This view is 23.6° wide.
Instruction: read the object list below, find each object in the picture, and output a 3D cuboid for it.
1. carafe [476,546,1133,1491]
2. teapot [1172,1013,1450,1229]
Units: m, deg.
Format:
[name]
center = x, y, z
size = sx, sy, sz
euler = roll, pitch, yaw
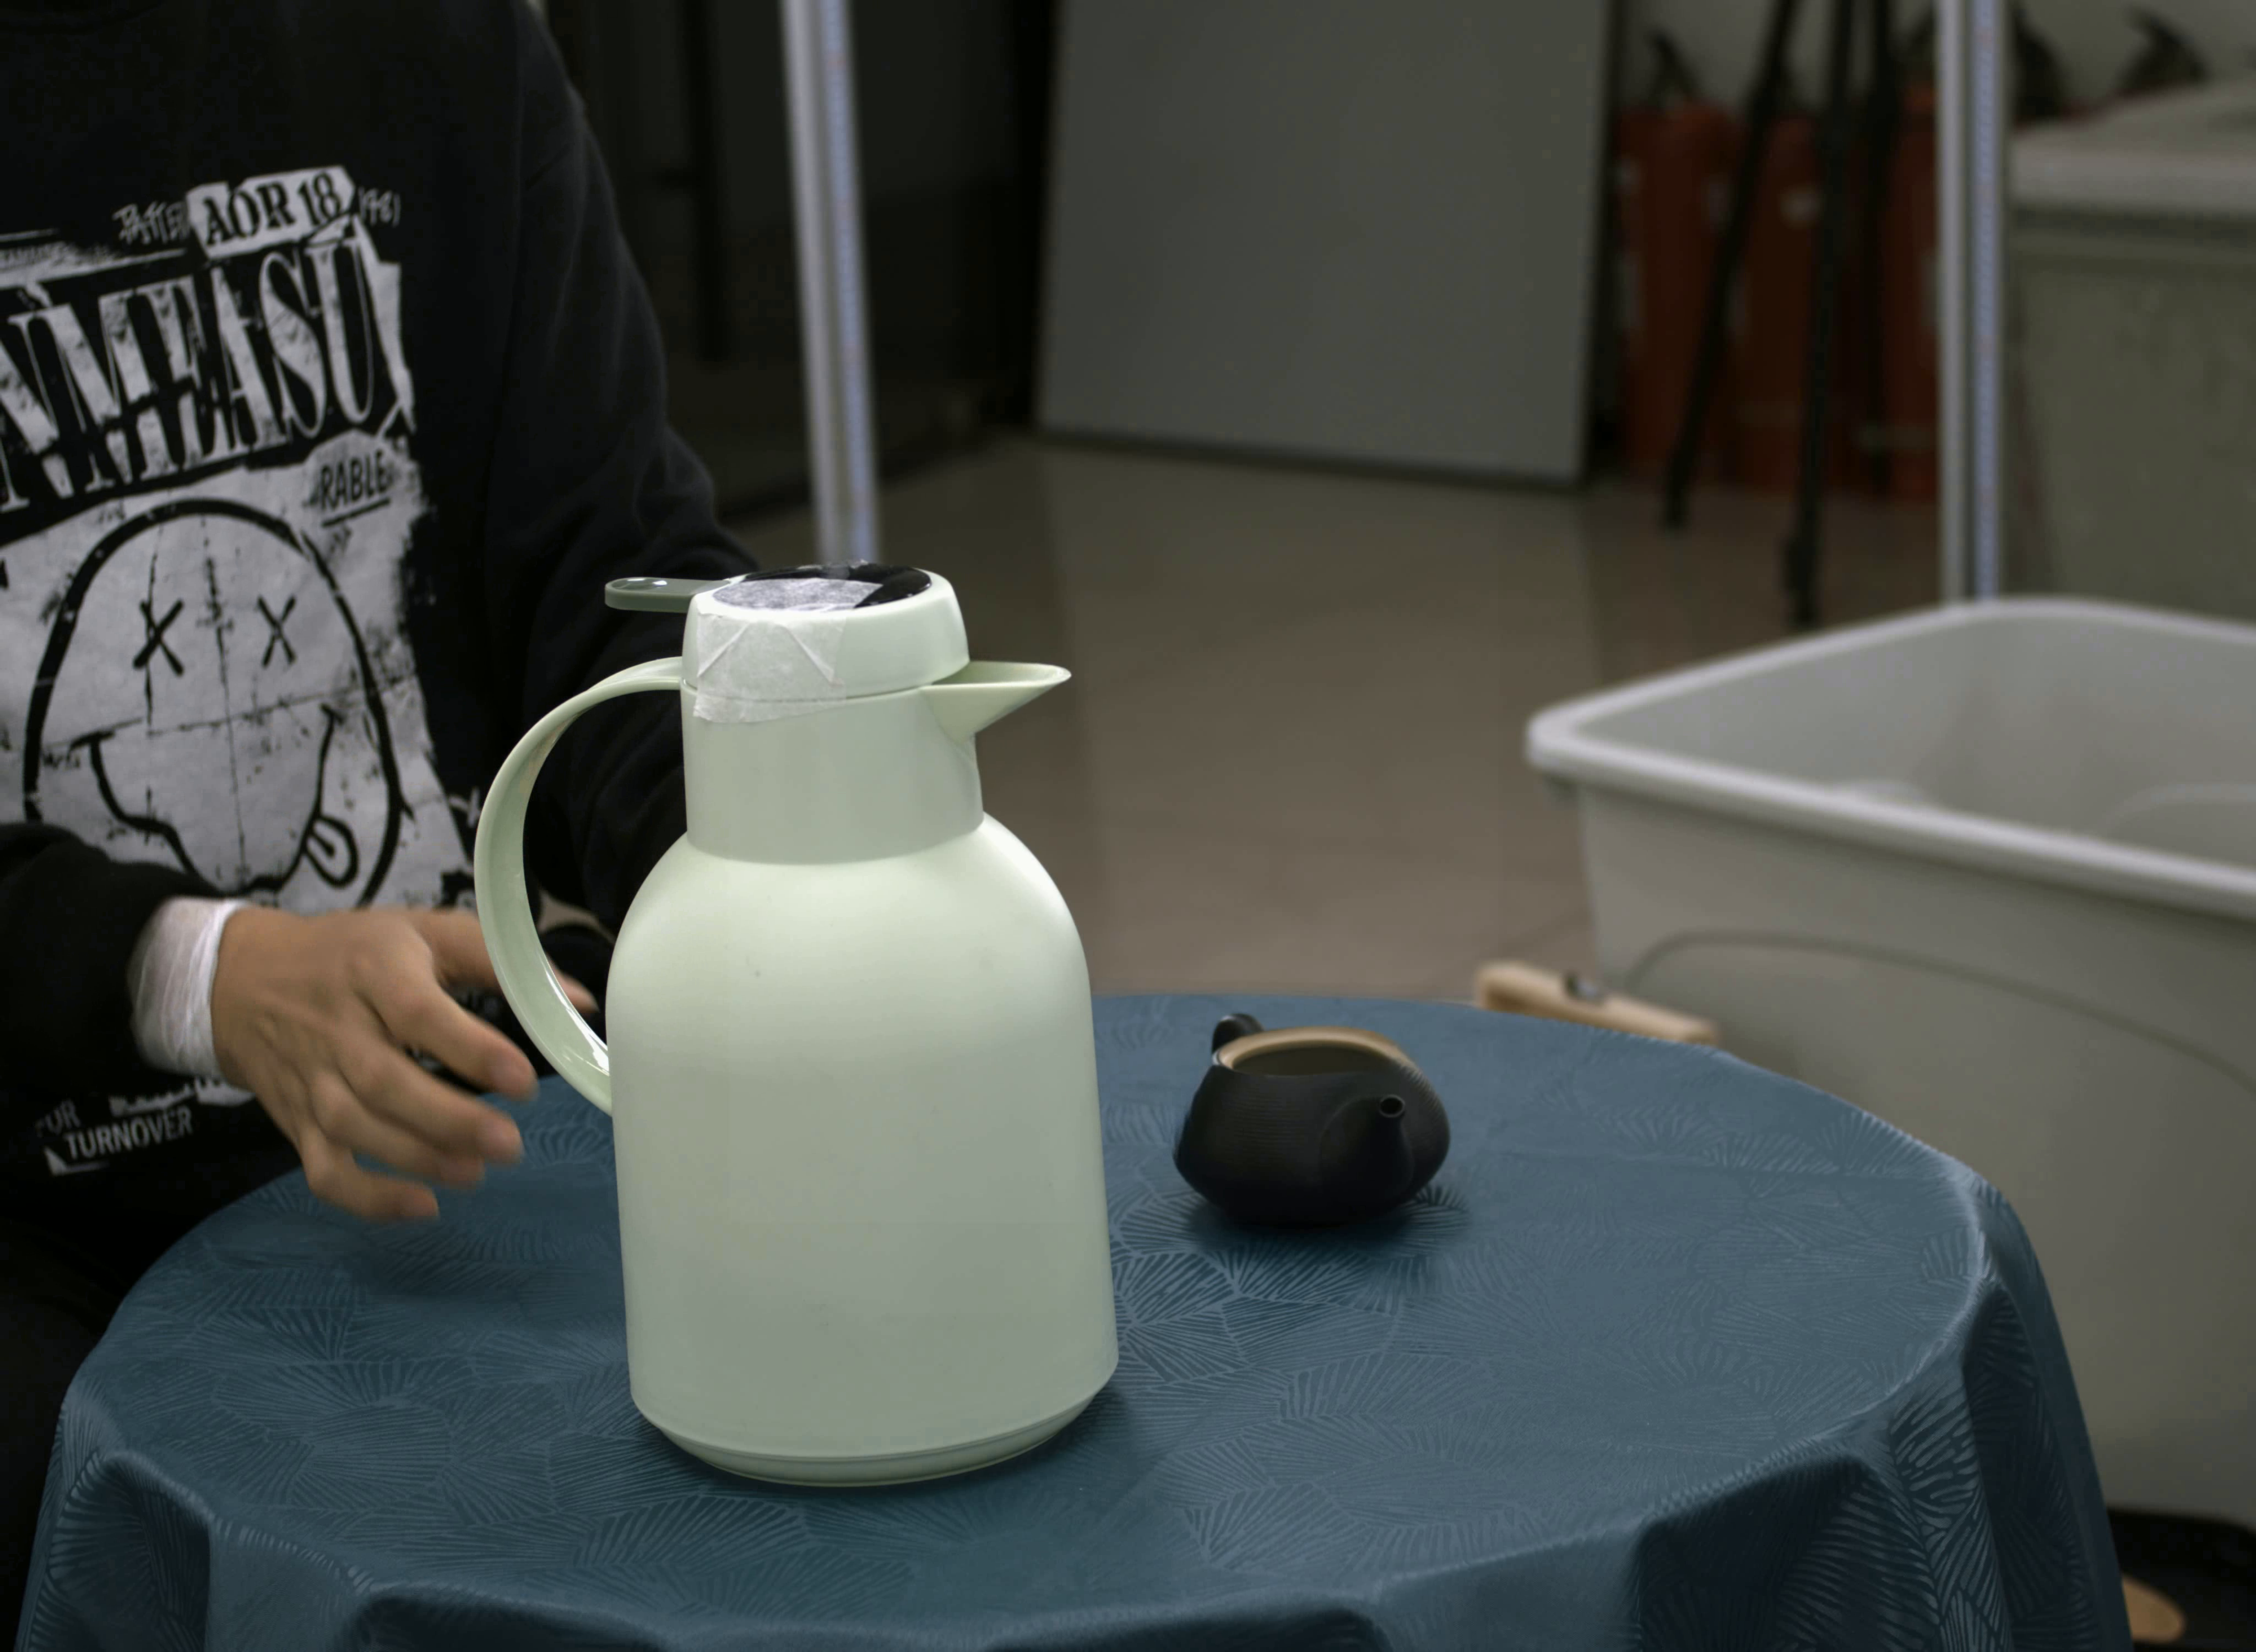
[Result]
[carafe]
center = -0.093, 0.051, 1.564
size = 0.186, 0.259, 0.143
euler = -3, 15, 21
[teapot]
center = 0.059, 0.097, 1.741
size = 0.089, 0.053, 0.134
euler = -8, 15, -22
